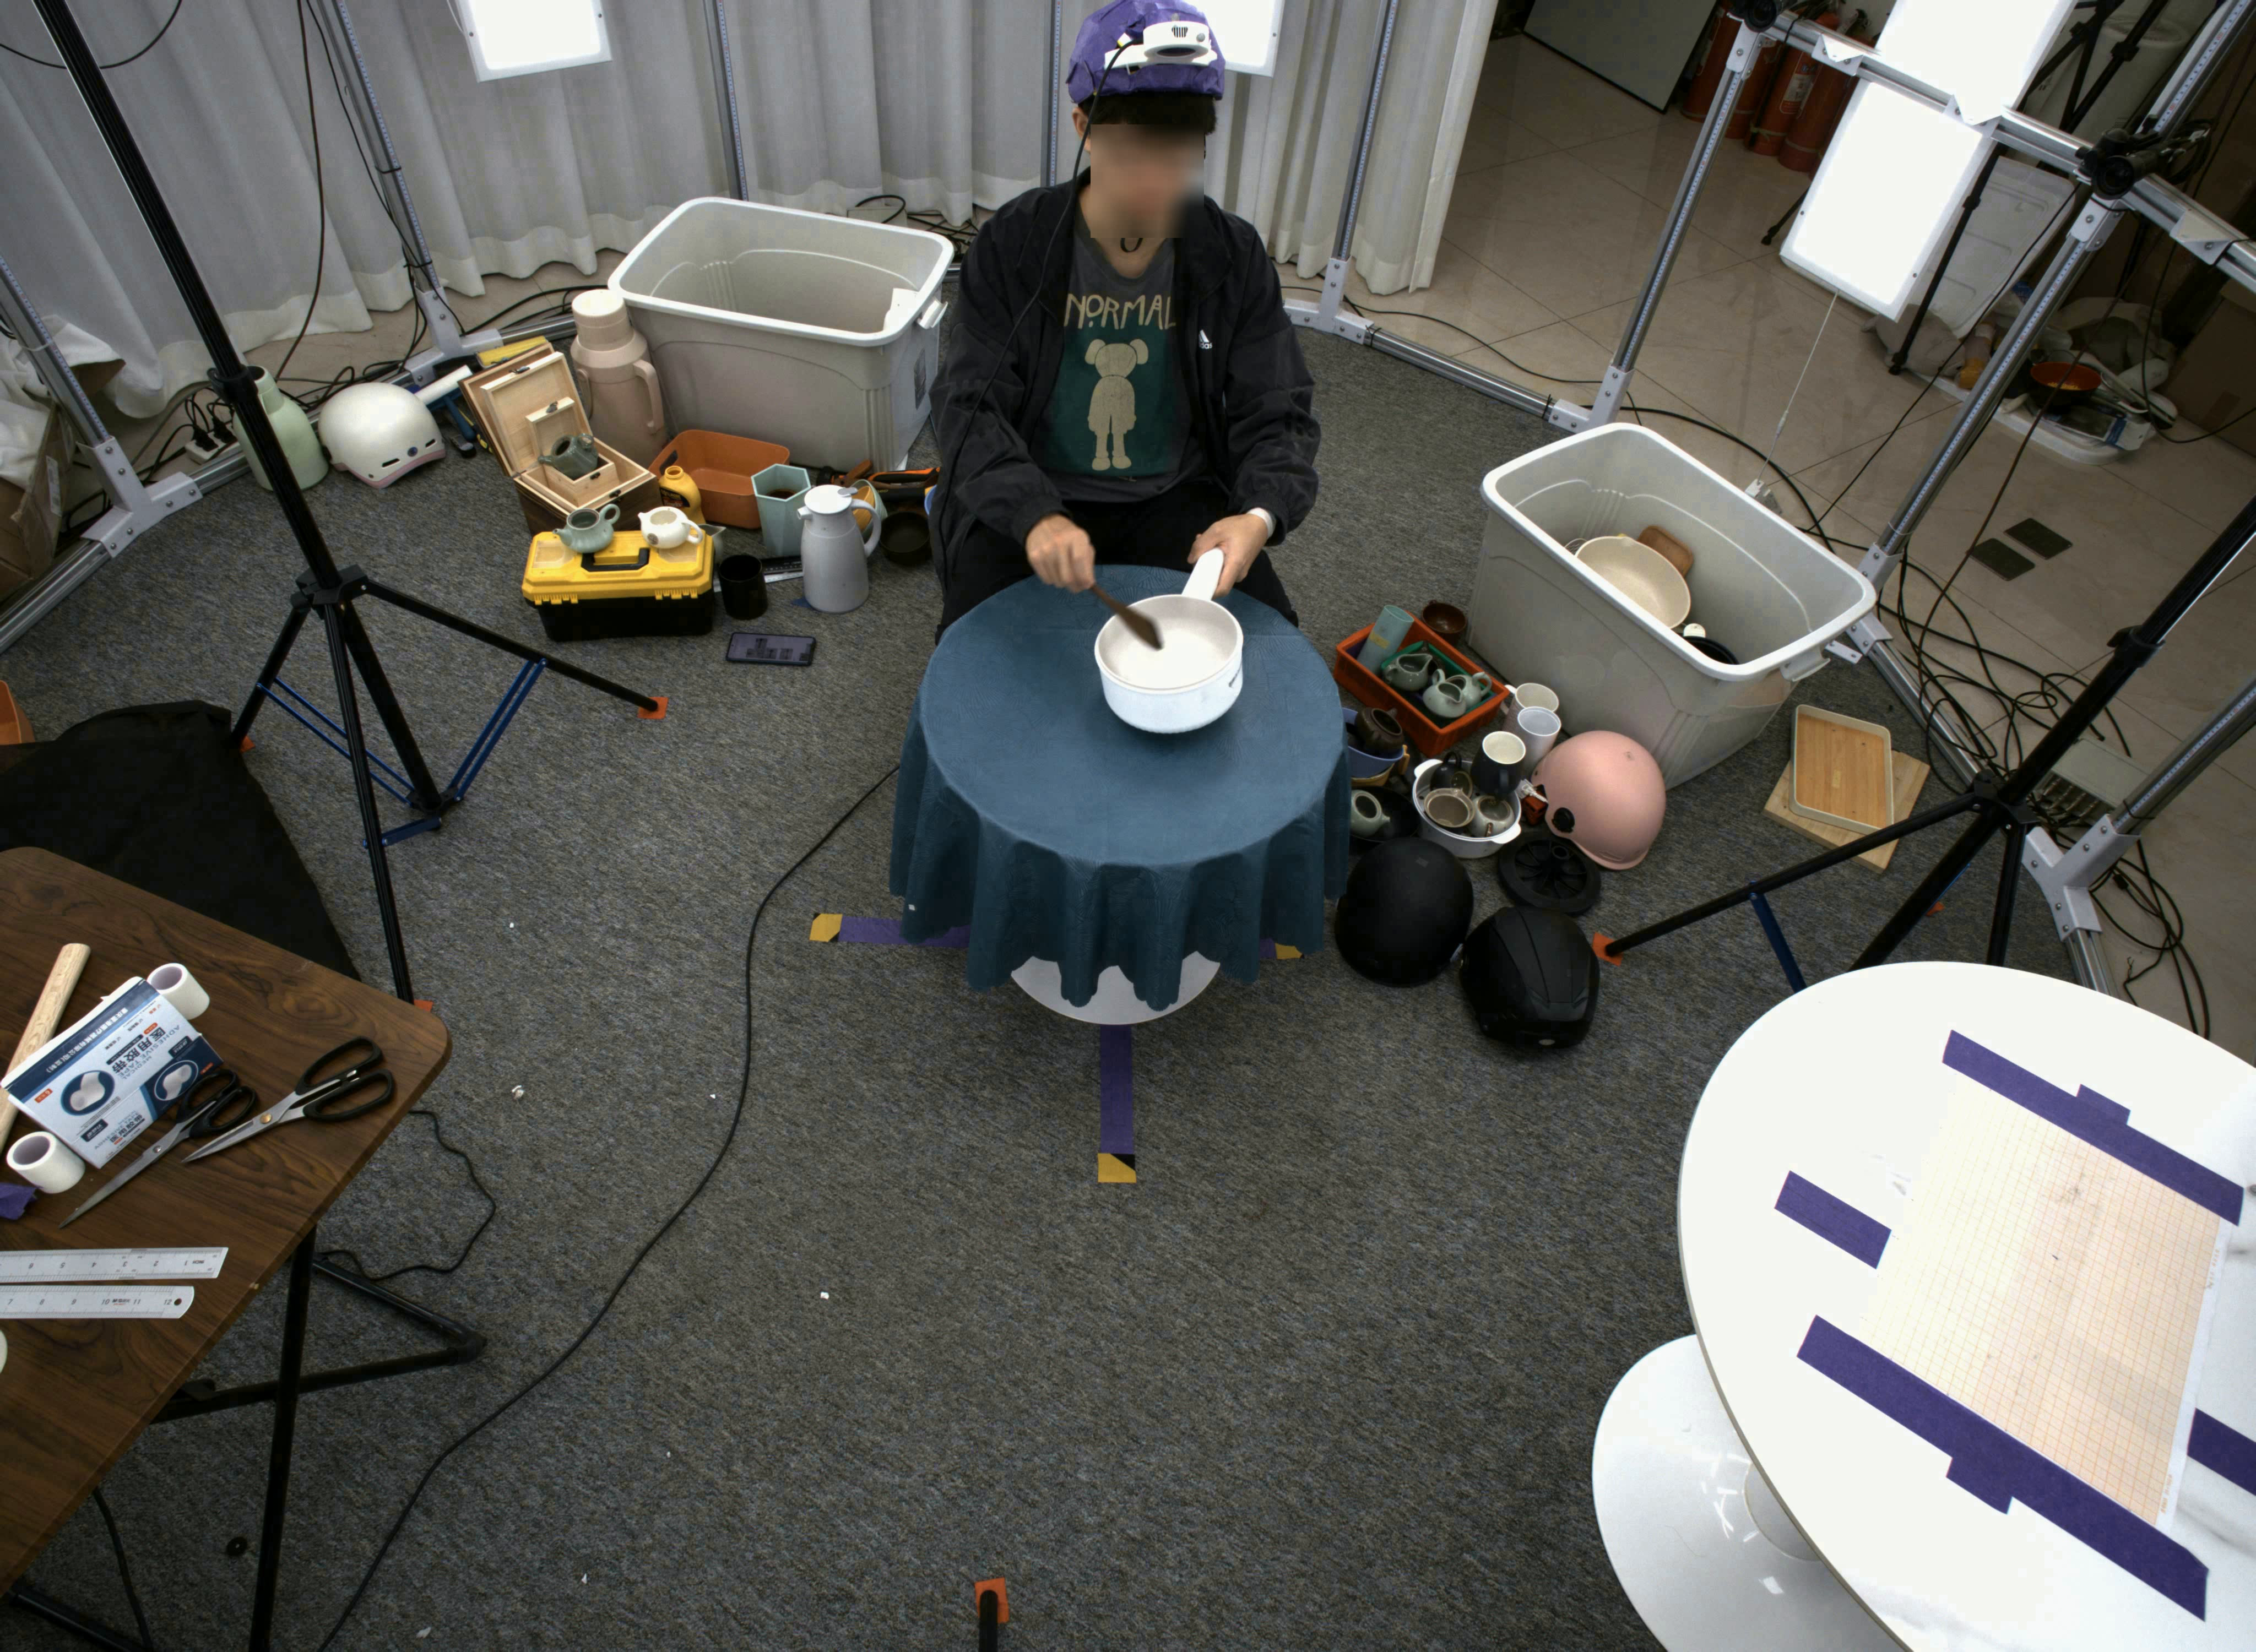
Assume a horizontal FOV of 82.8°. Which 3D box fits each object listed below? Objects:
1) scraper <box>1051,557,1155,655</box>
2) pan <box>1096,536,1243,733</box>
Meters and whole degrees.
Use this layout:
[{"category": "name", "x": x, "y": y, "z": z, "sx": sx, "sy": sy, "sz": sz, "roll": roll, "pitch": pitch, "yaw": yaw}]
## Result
[{"category": "scraper", "x": -0.038, "y": -0.304, "z": 1.741, "sx": 0.011, "sy": 0.074, "sz": 0.215, "roll": -40, "pitch": 59, "yaw": -9}, {"category": "pan", "x": 0.087, "y": -0.273, "z": 1.824, "sx": 0.202, "sy": 0.099, "sz": 0.362, "roll": 9, "pitch": 47, "yaw": 19}]
